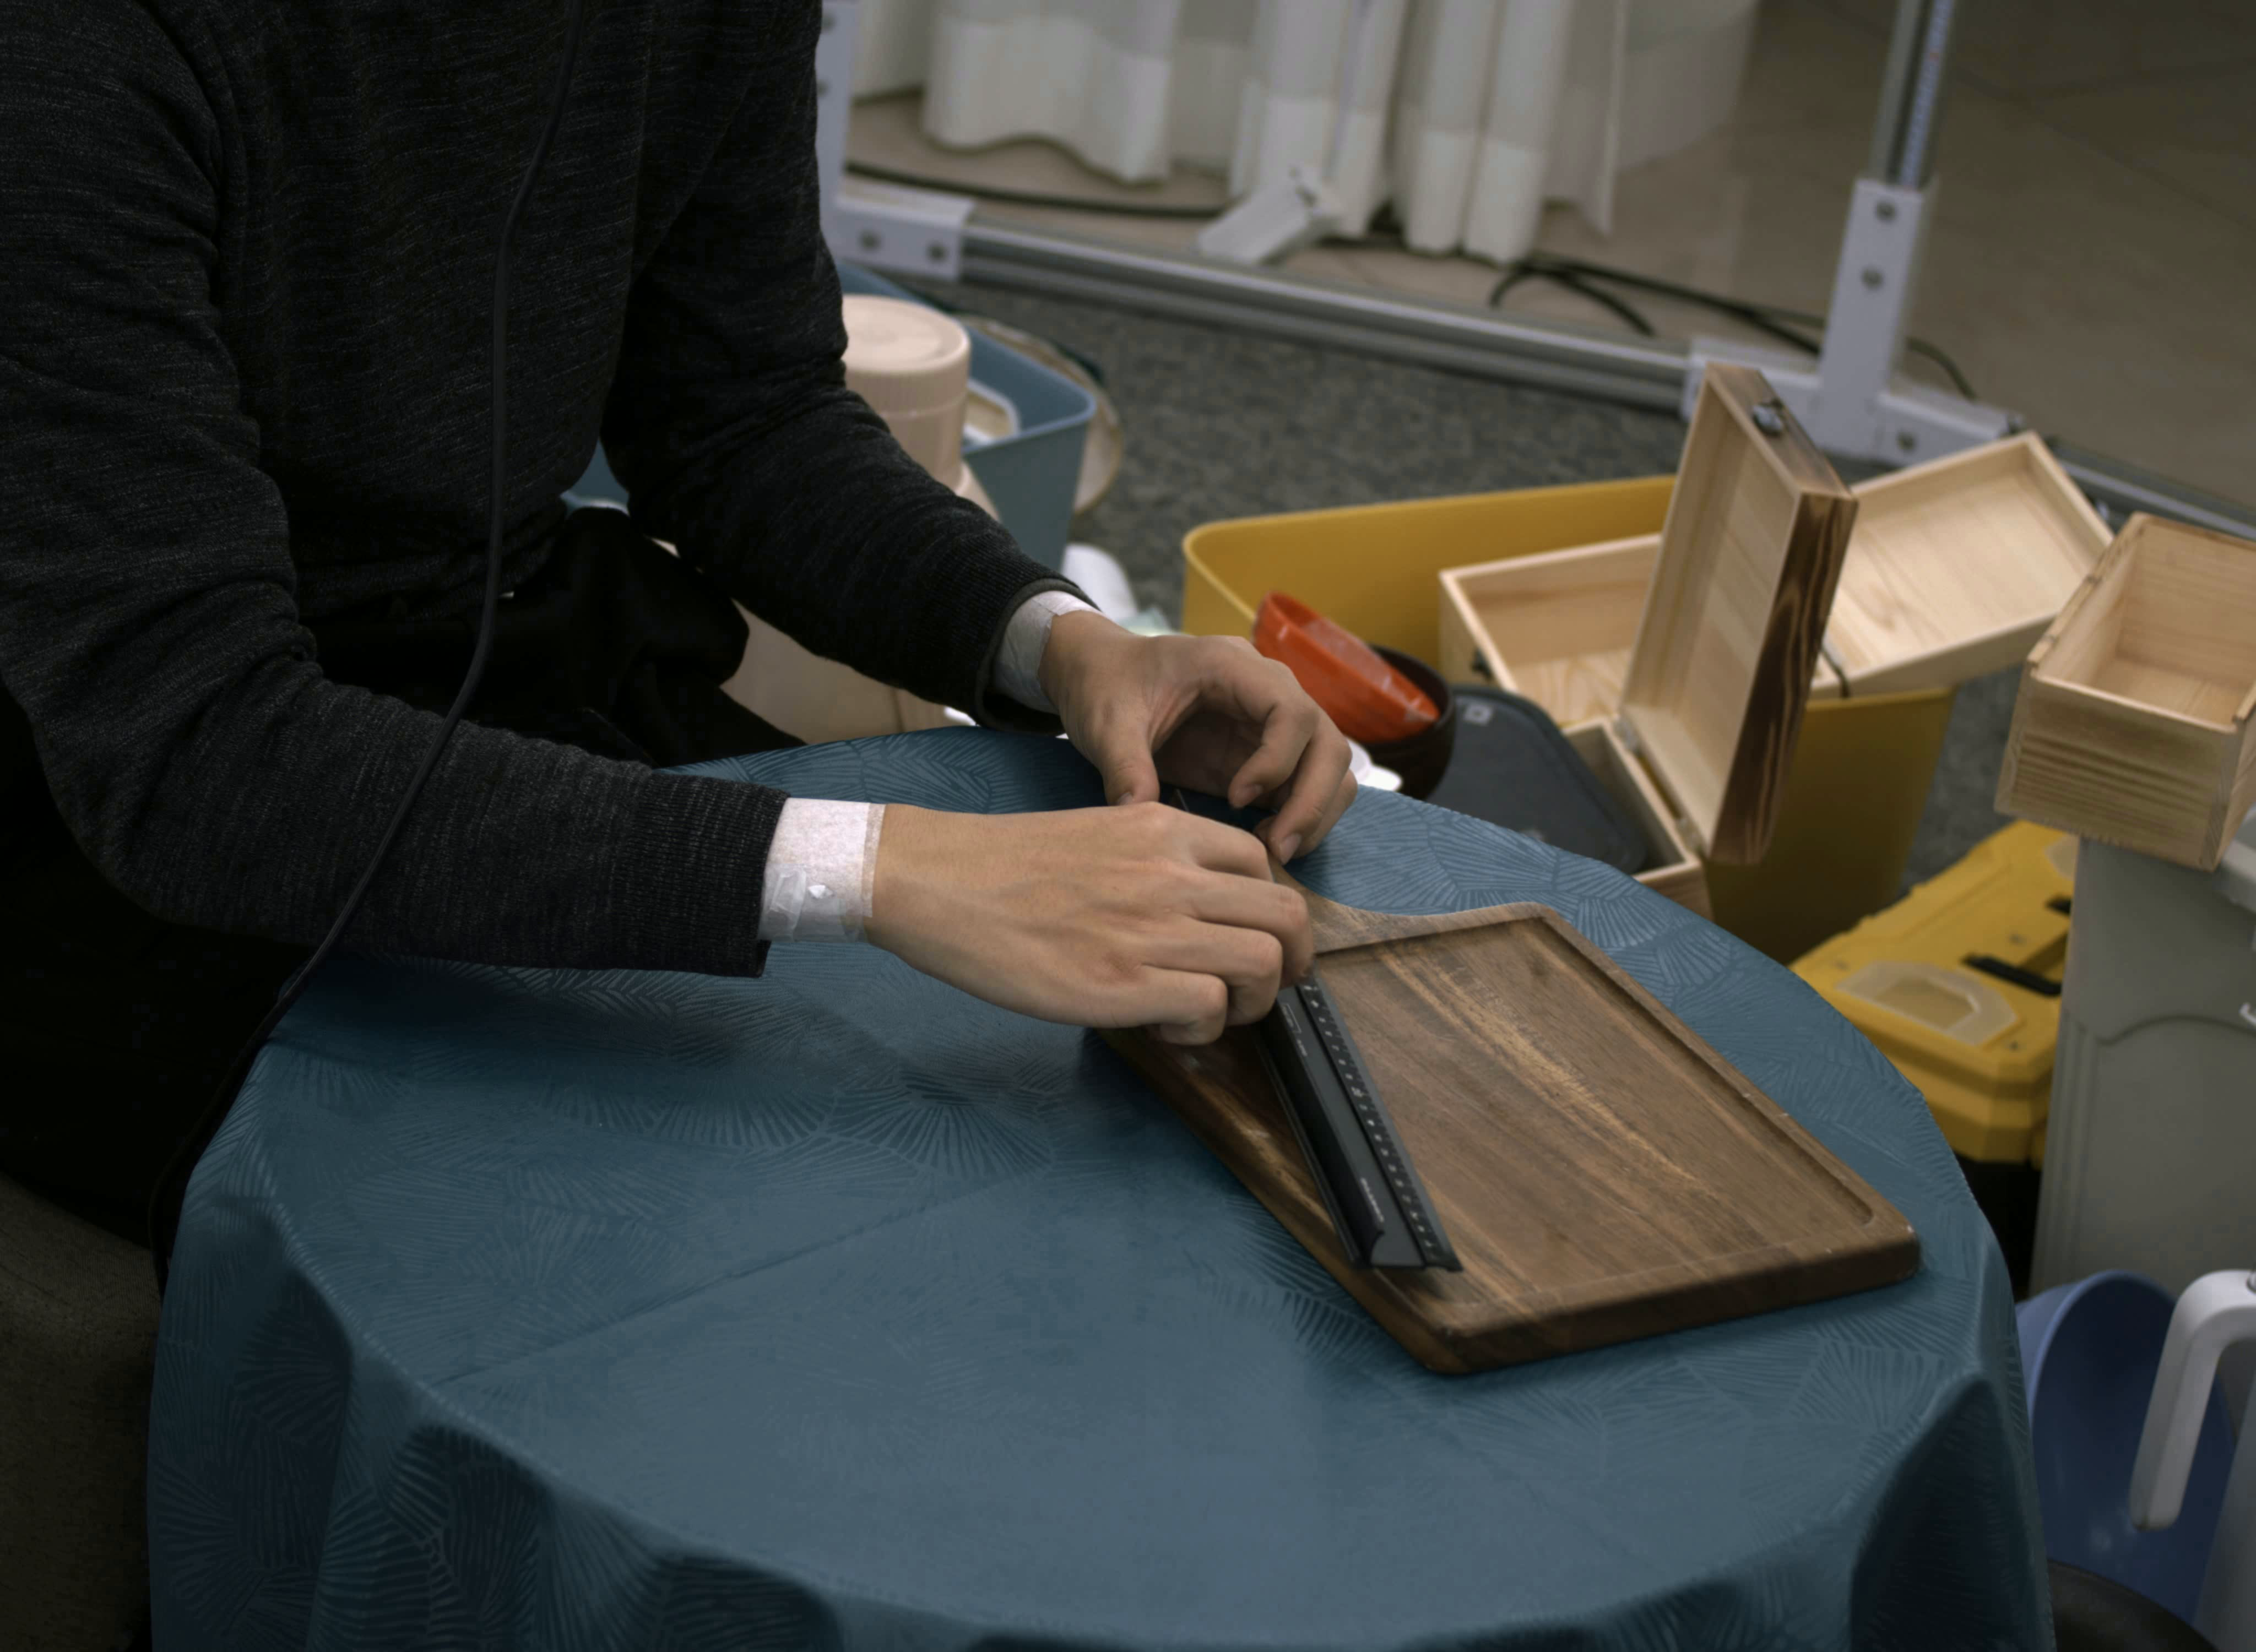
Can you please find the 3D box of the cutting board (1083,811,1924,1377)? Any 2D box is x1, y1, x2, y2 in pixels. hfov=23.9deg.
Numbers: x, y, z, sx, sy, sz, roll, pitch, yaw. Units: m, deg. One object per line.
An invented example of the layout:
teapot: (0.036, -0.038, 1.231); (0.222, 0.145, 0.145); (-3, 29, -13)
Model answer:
cutting board: (0.103, 0.081, 1.886); (0.200, 0.023, 0.355); (-9, 30, -28)

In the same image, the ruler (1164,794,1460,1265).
ruler: (0.062, 0.065, 1.852); (0.039, 0.017, 0.315); (5, 26, -15)
